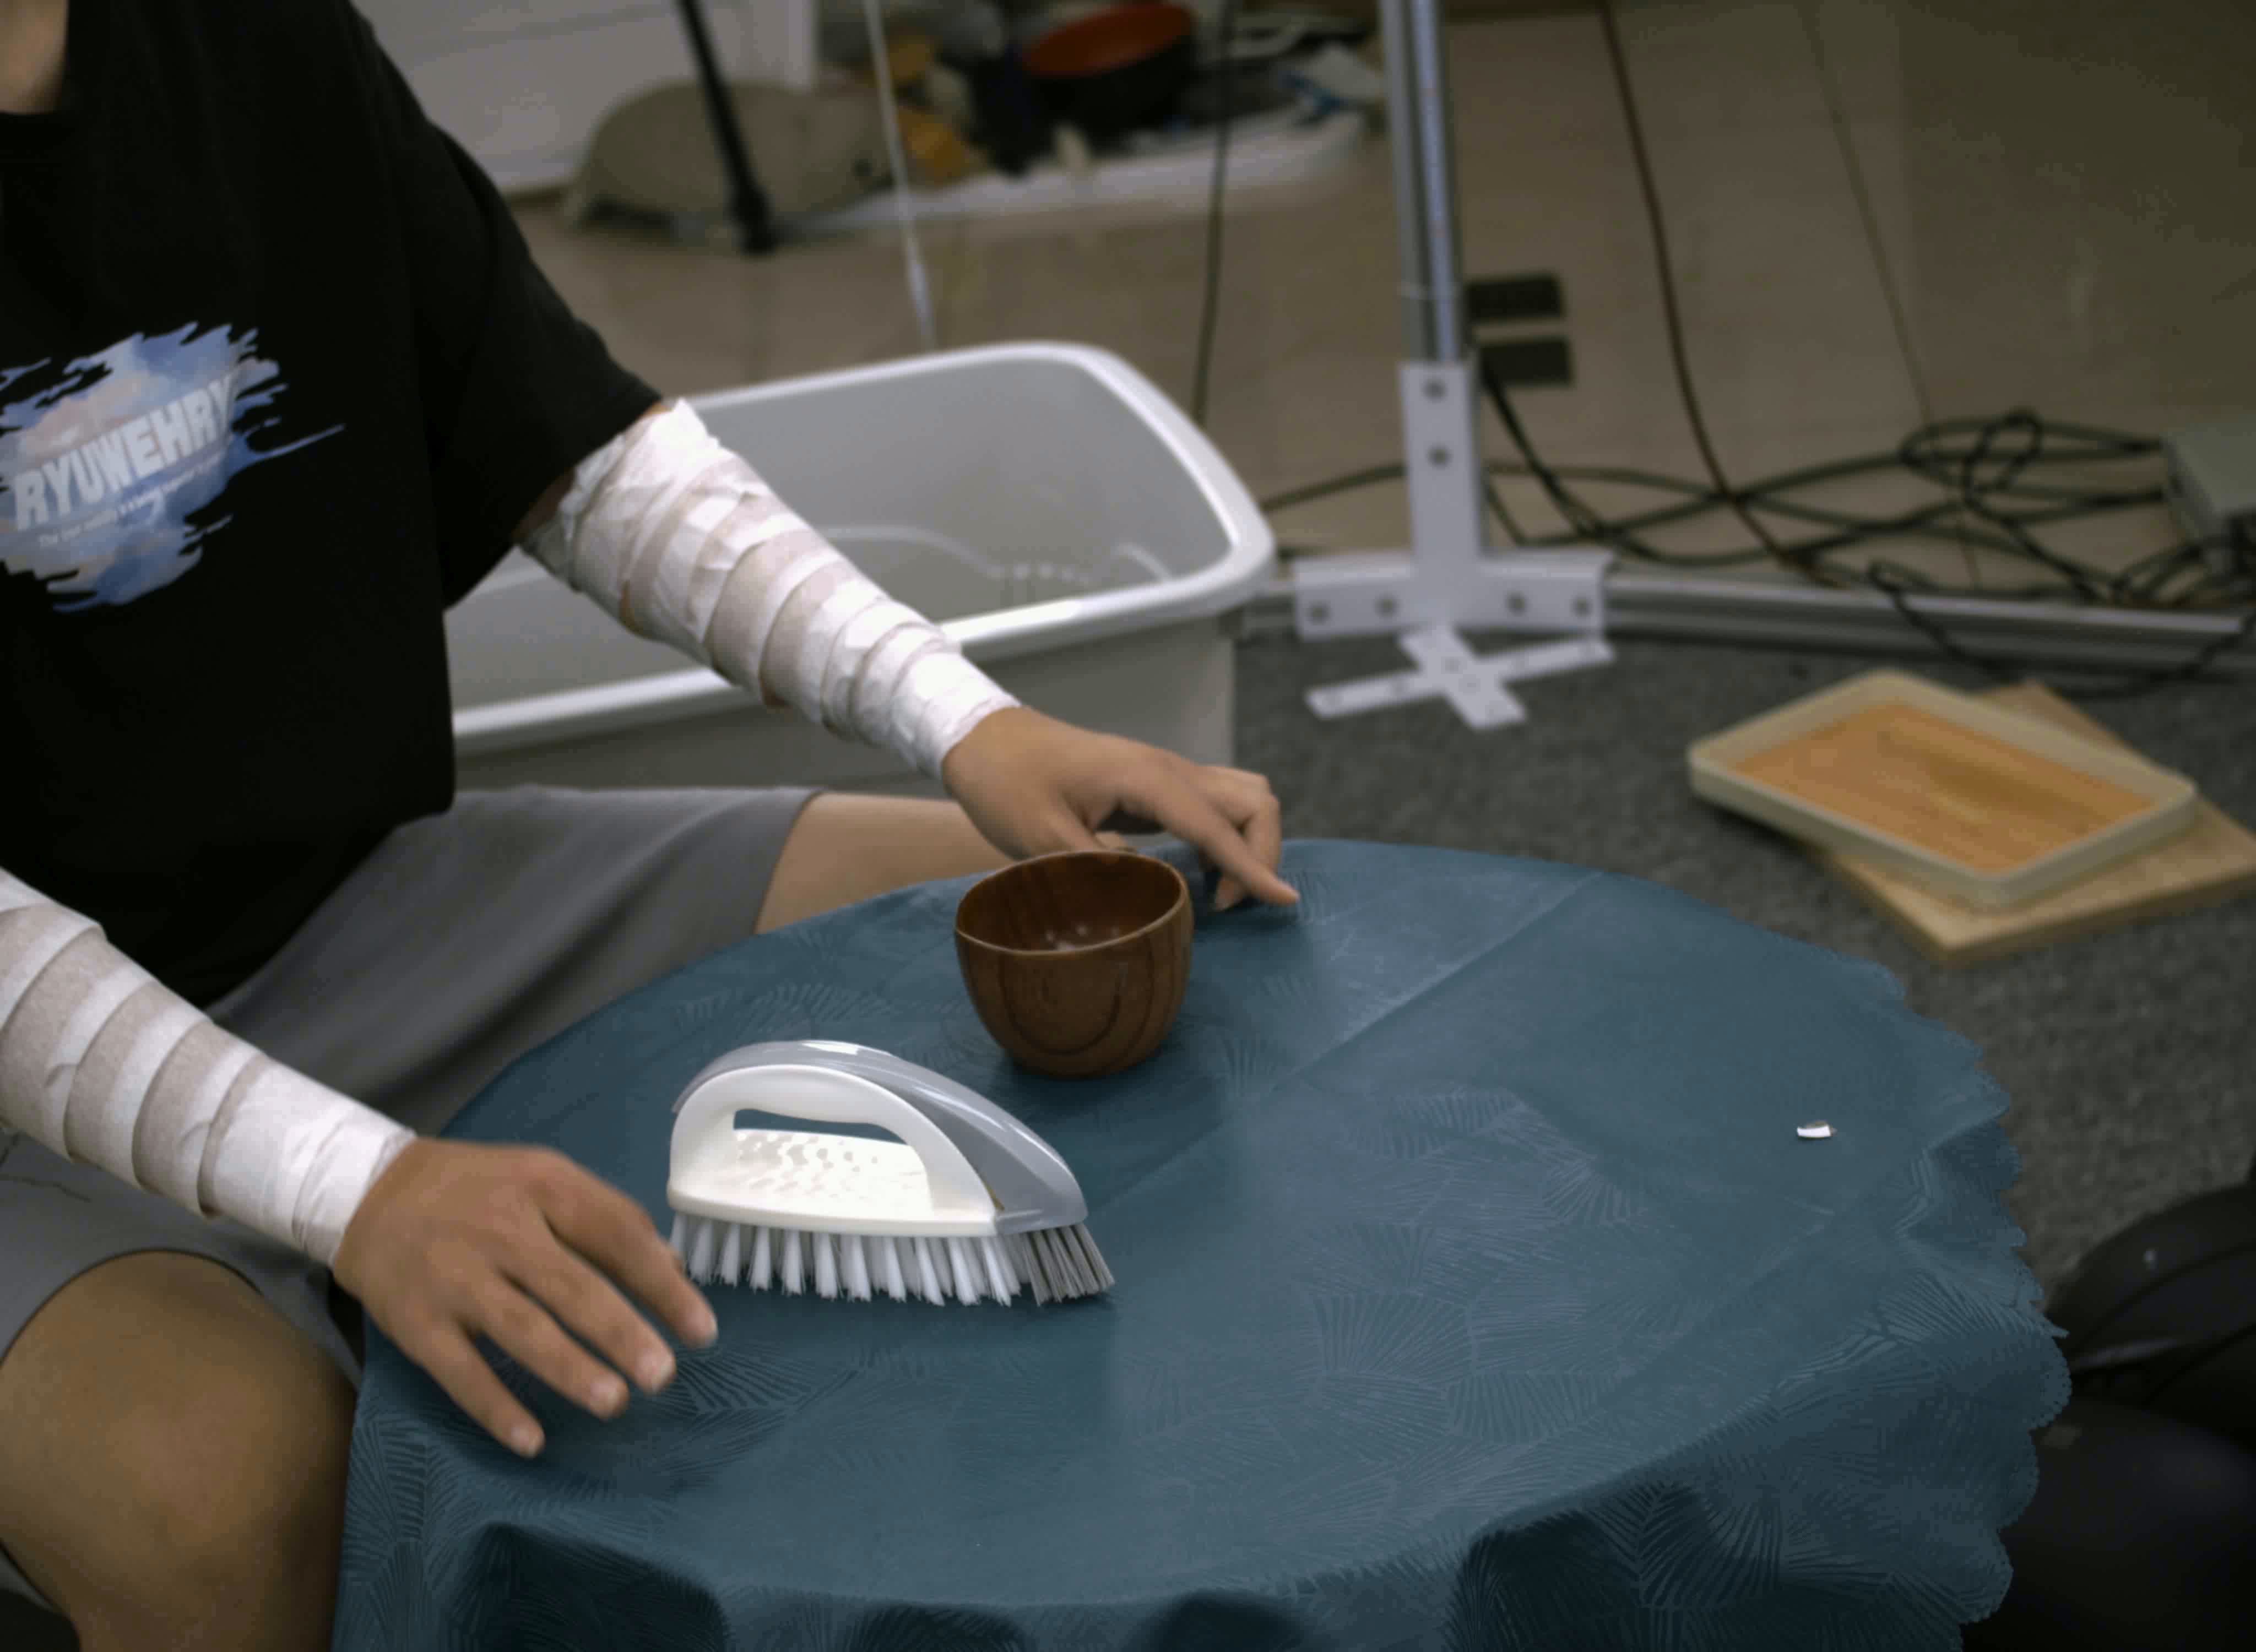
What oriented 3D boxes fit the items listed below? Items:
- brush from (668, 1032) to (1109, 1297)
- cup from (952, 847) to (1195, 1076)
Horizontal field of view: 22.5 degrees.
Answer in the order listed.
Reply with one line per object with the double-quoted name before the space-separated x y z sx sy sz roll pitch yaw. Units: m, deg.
"brush" -0.091 0.122 2.097 0.175 0.096 0.060 8 33 24
"cup" -0.015 0.052 2.259 0.096 0.069 0.118 0 25 20
